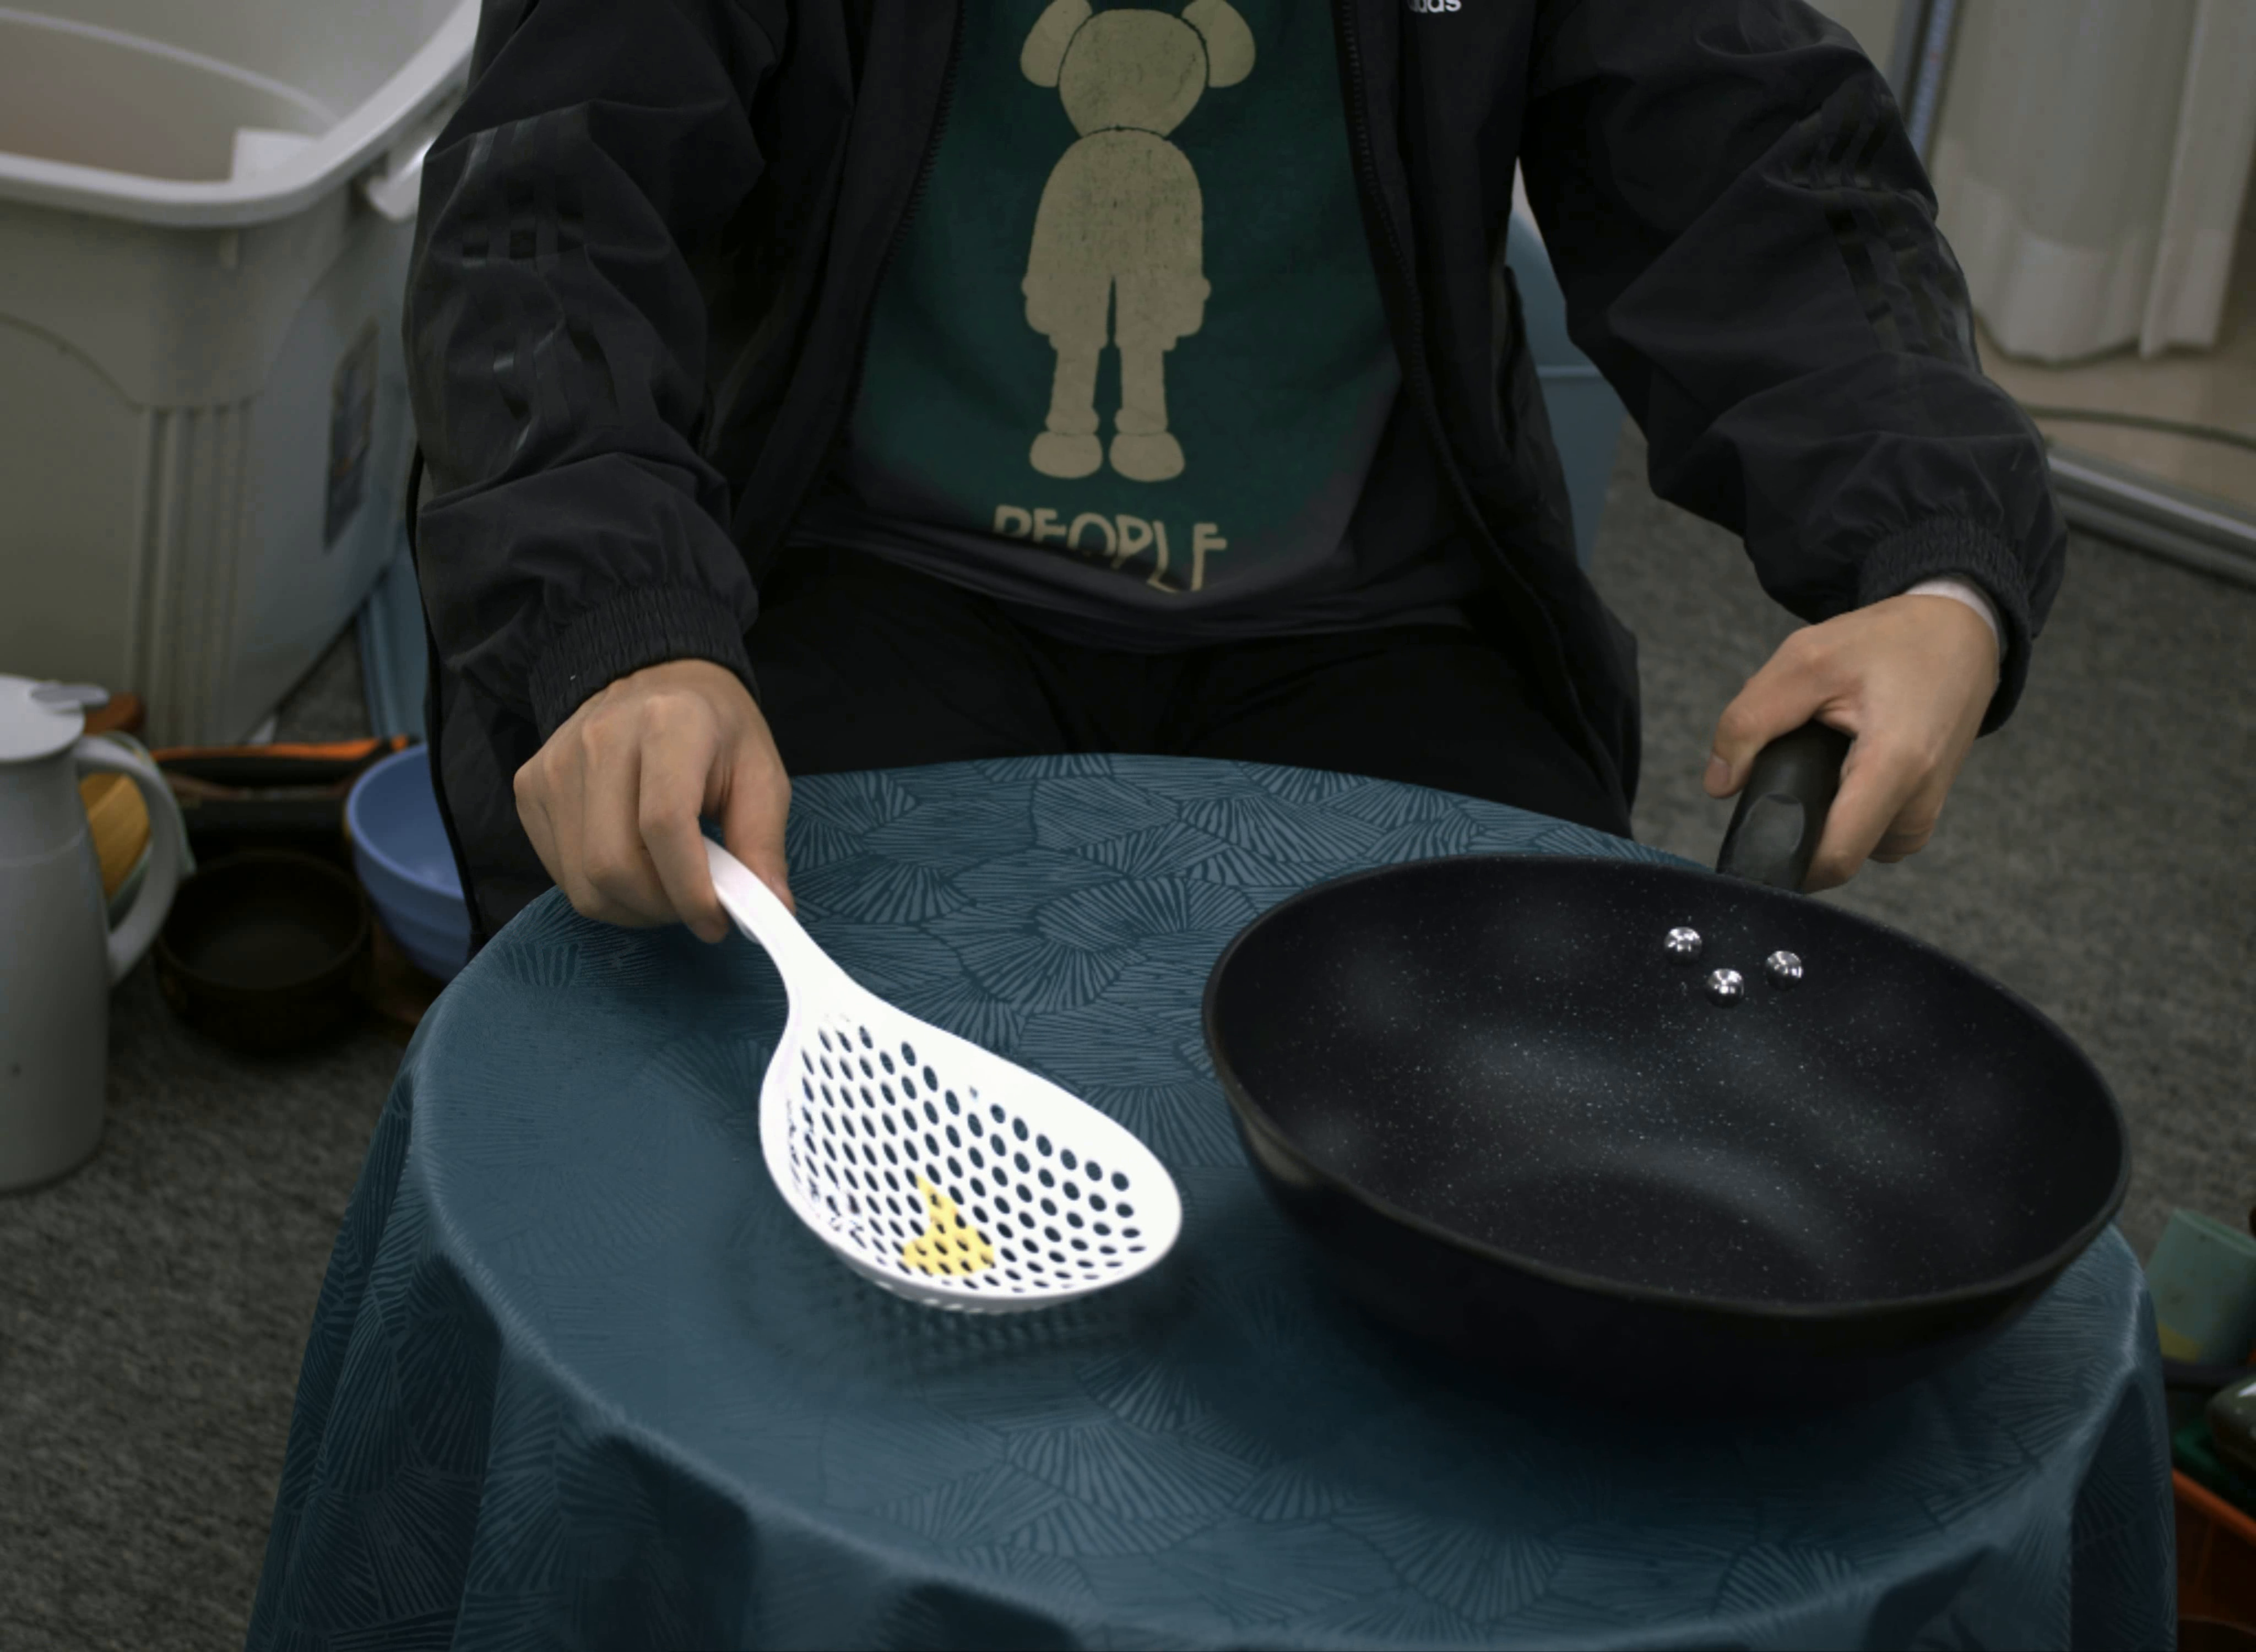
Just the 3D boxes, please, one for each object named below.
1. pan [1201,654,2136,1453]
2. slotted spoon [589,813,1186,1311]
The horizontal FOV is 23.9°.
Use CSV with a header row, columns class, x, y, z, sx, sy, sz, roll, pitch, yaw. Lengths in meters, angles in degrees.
class,x,y,z,sx,sy,sz,roll,pitch,yaw
pan,0.196,0.077,1.825,0.310,0.111,0.477,15,27,11
slotted spoon,-0.103,0.069,1.814,0.136,0.050,0.351,-7,36,-28
